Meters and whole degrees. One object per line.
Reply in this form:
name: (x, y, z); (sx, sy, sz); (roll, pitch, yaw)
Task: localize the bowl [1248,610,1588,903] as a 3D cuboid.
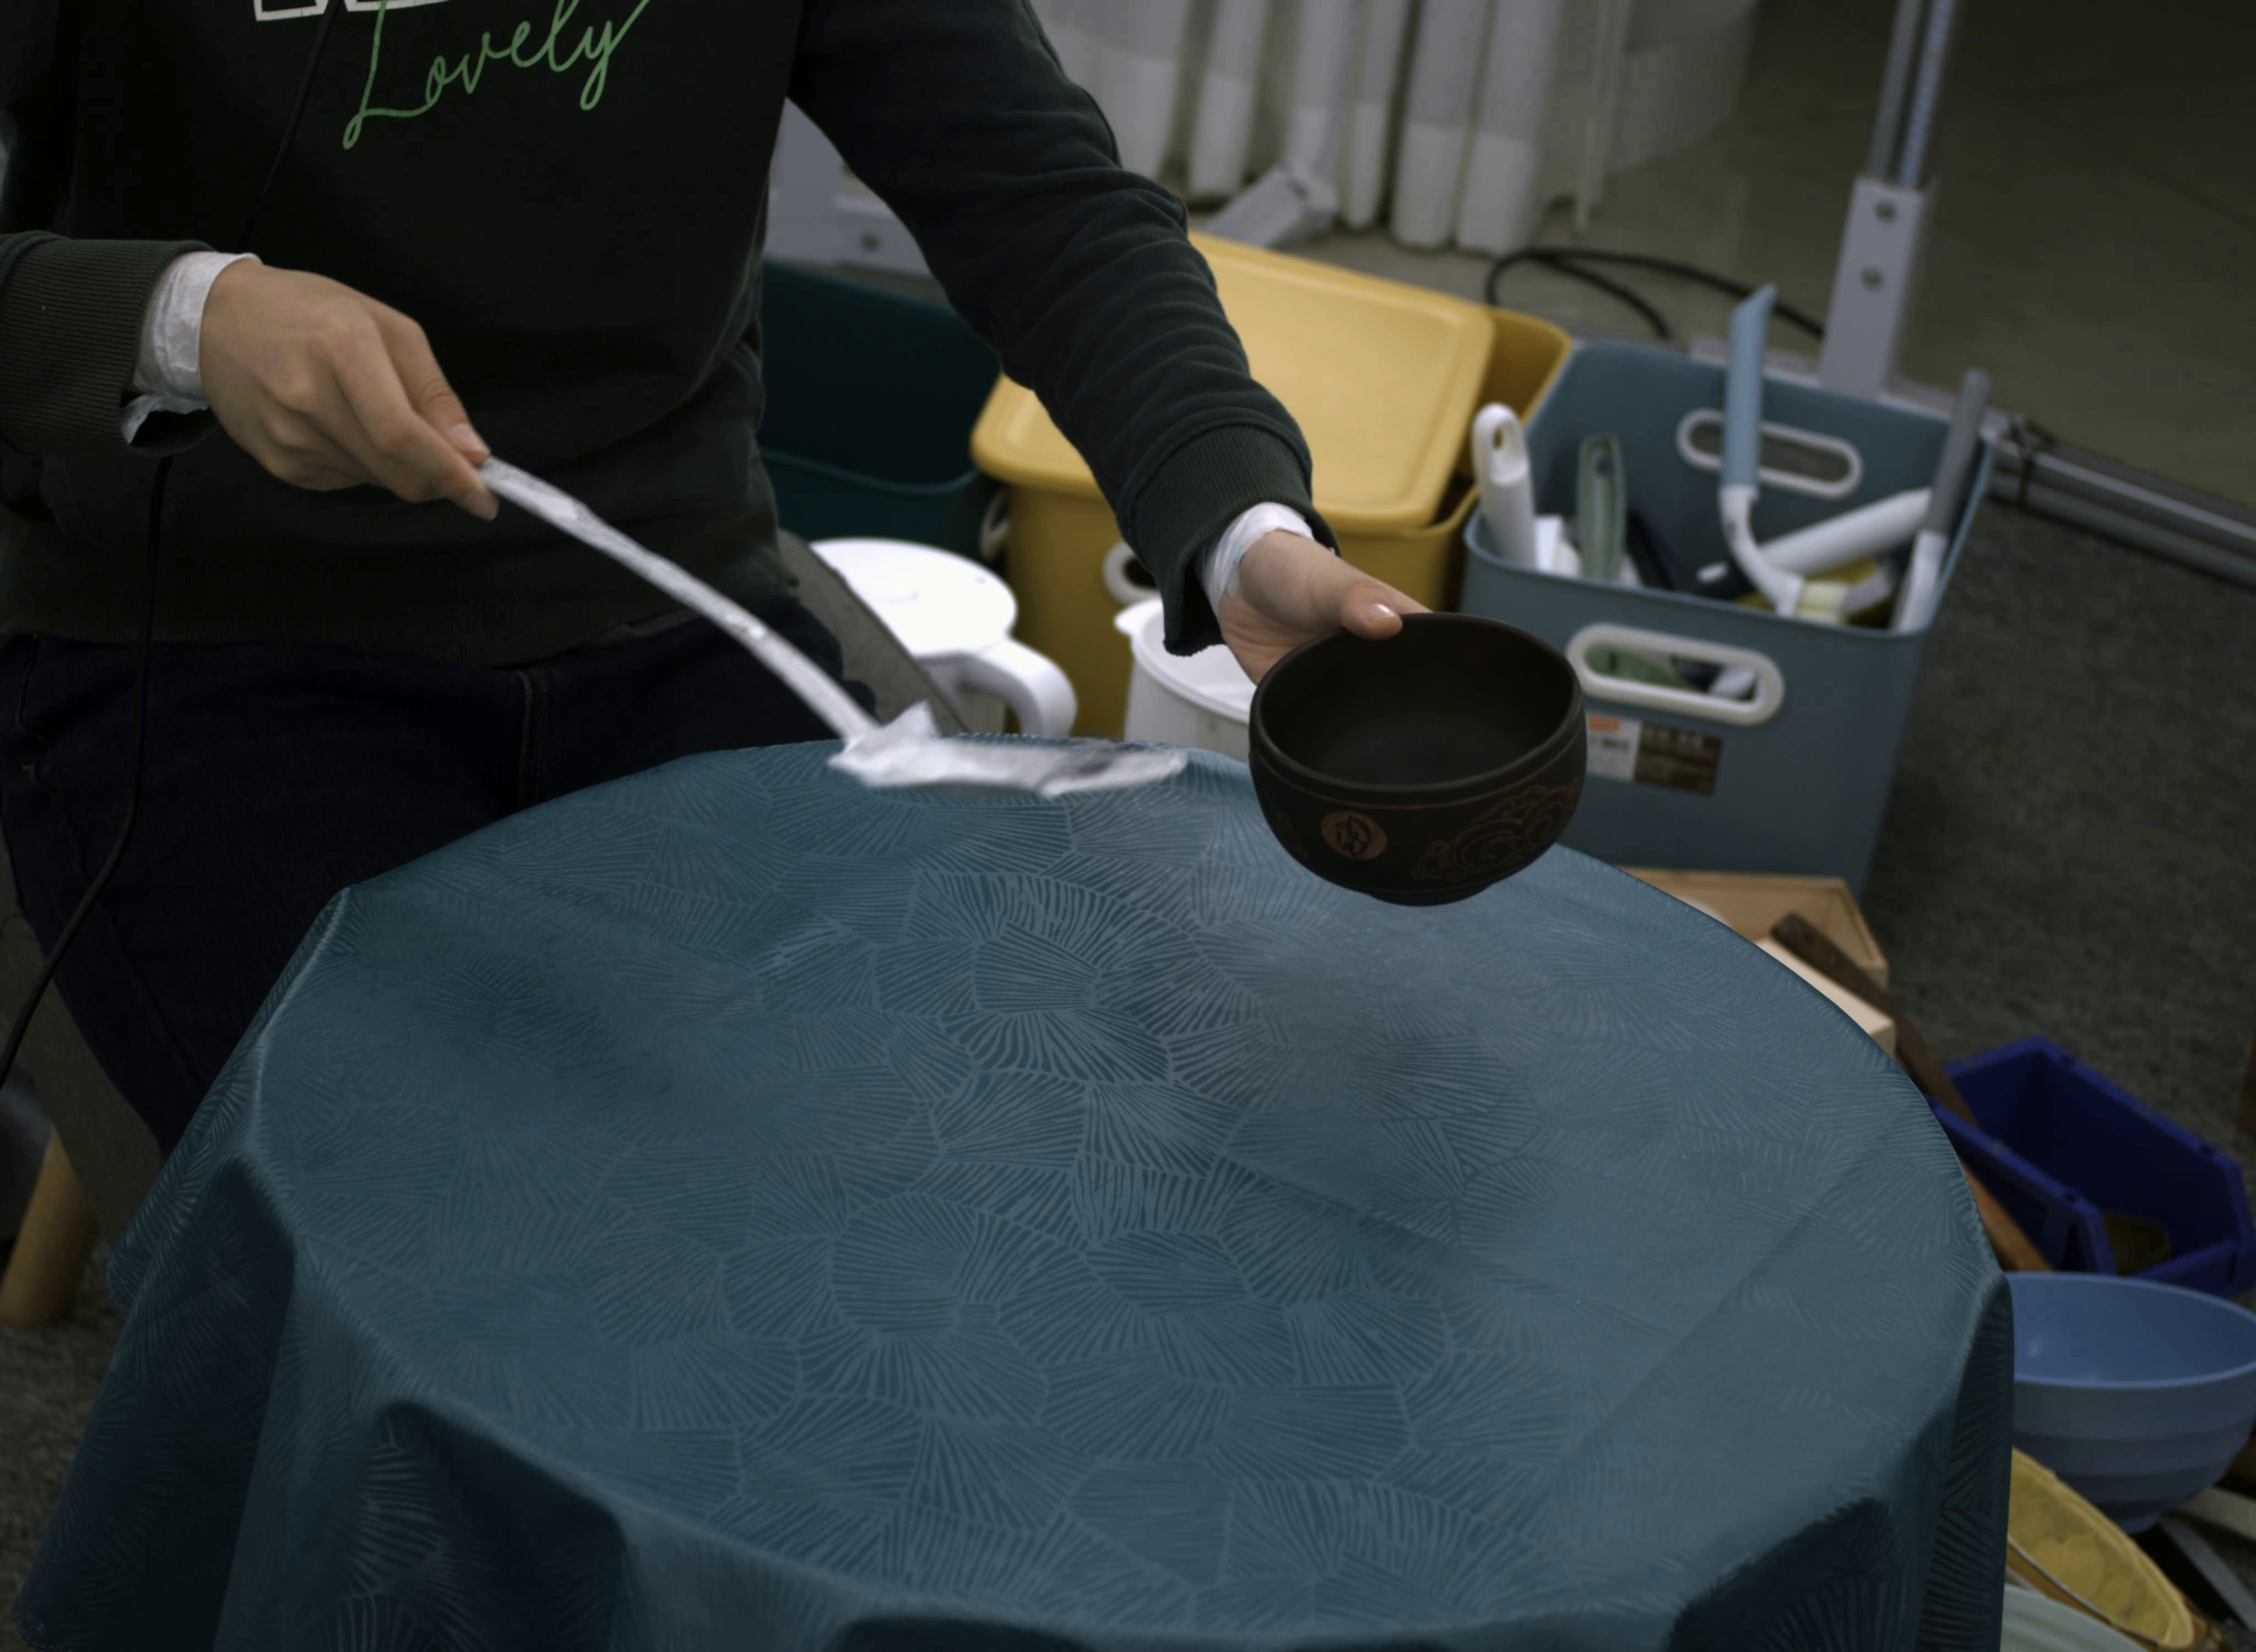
bowl: (0.102, -0.017, 1.851); (0.118, 0.069, 0.119); (-4, 32, 2)

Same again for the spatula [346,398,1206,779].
spatula: (-0.135, -0.084, 1.741); (0.367, 0.045, 0.098); (31, 25, 31)
